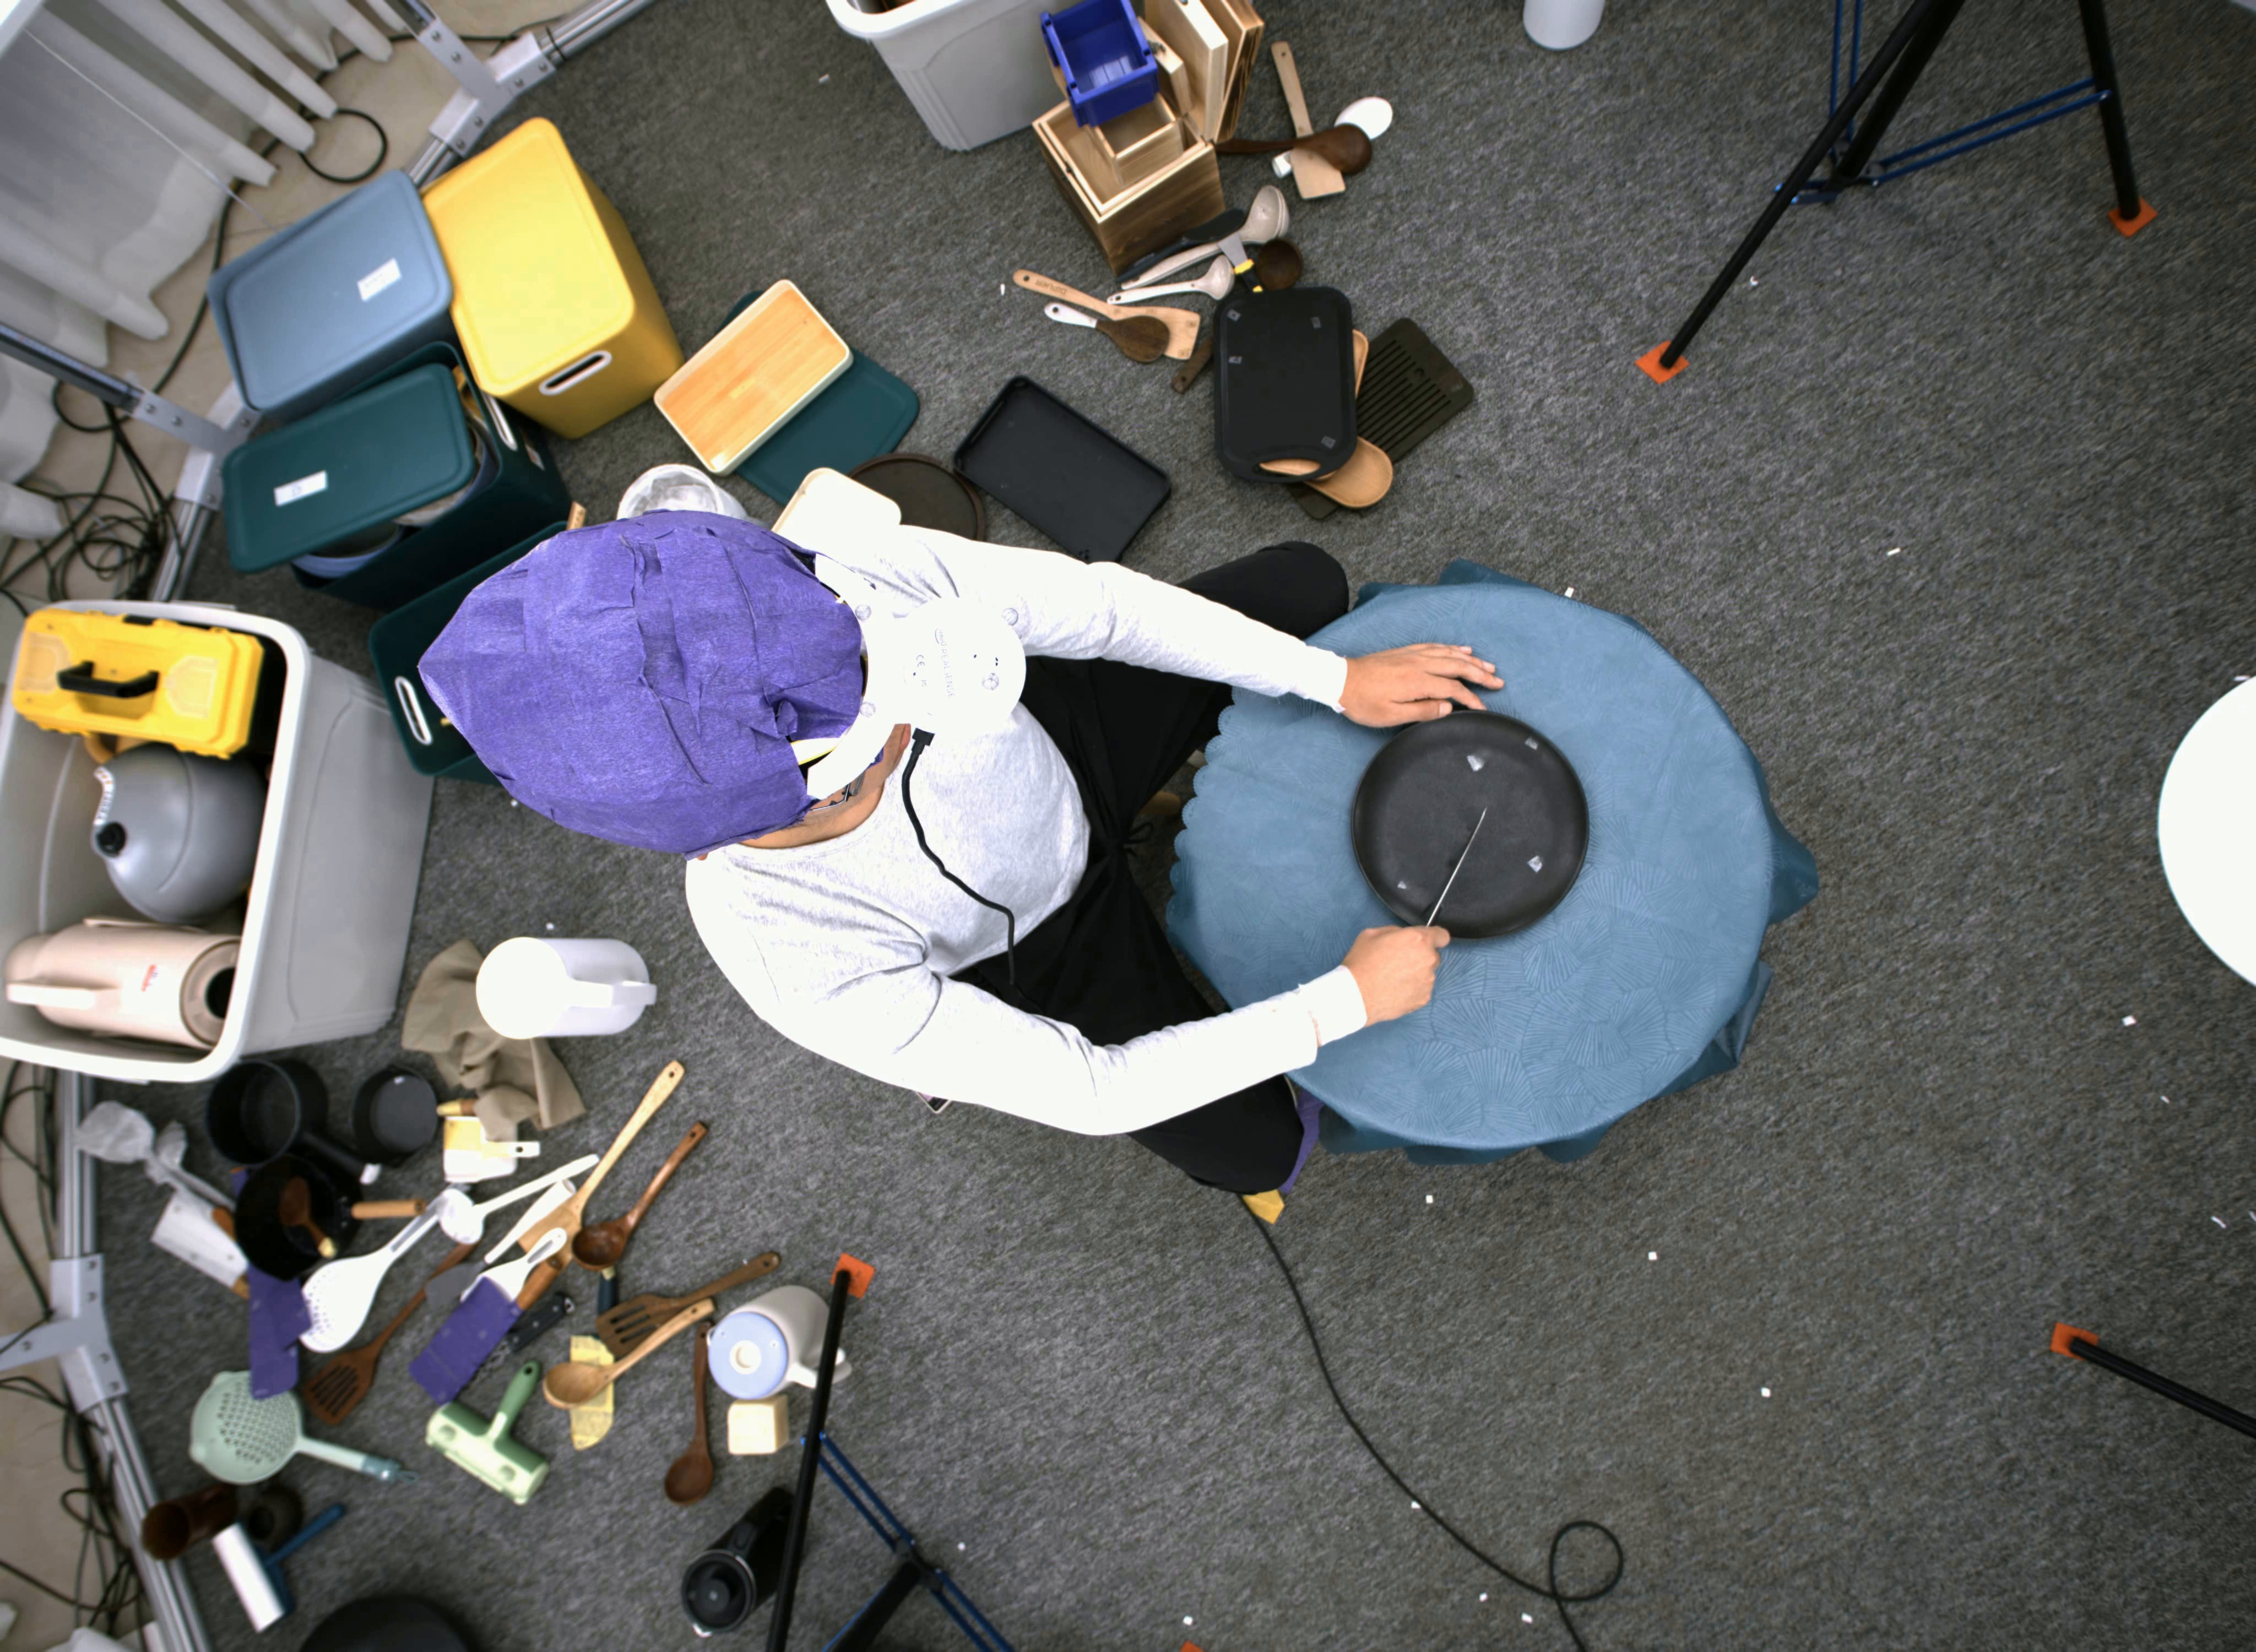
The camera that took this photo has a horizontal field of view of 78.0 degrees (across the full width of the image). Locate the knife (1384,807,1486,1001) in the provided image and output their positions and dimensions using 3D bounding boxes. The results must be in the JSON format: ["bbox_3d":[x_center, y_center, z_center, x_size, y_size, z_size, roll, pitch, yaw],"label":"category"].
[{"bbox_3d":[0.318,0.073,1.404,0.016,0.025,0.234,30,73,4],"label":"knife"}]

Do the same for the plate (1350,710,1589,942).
[{"bbox_3d":[0.355,-0.002,1.437,0.245,0.023,0.243,-1,87,11],"label":"plate"}]
